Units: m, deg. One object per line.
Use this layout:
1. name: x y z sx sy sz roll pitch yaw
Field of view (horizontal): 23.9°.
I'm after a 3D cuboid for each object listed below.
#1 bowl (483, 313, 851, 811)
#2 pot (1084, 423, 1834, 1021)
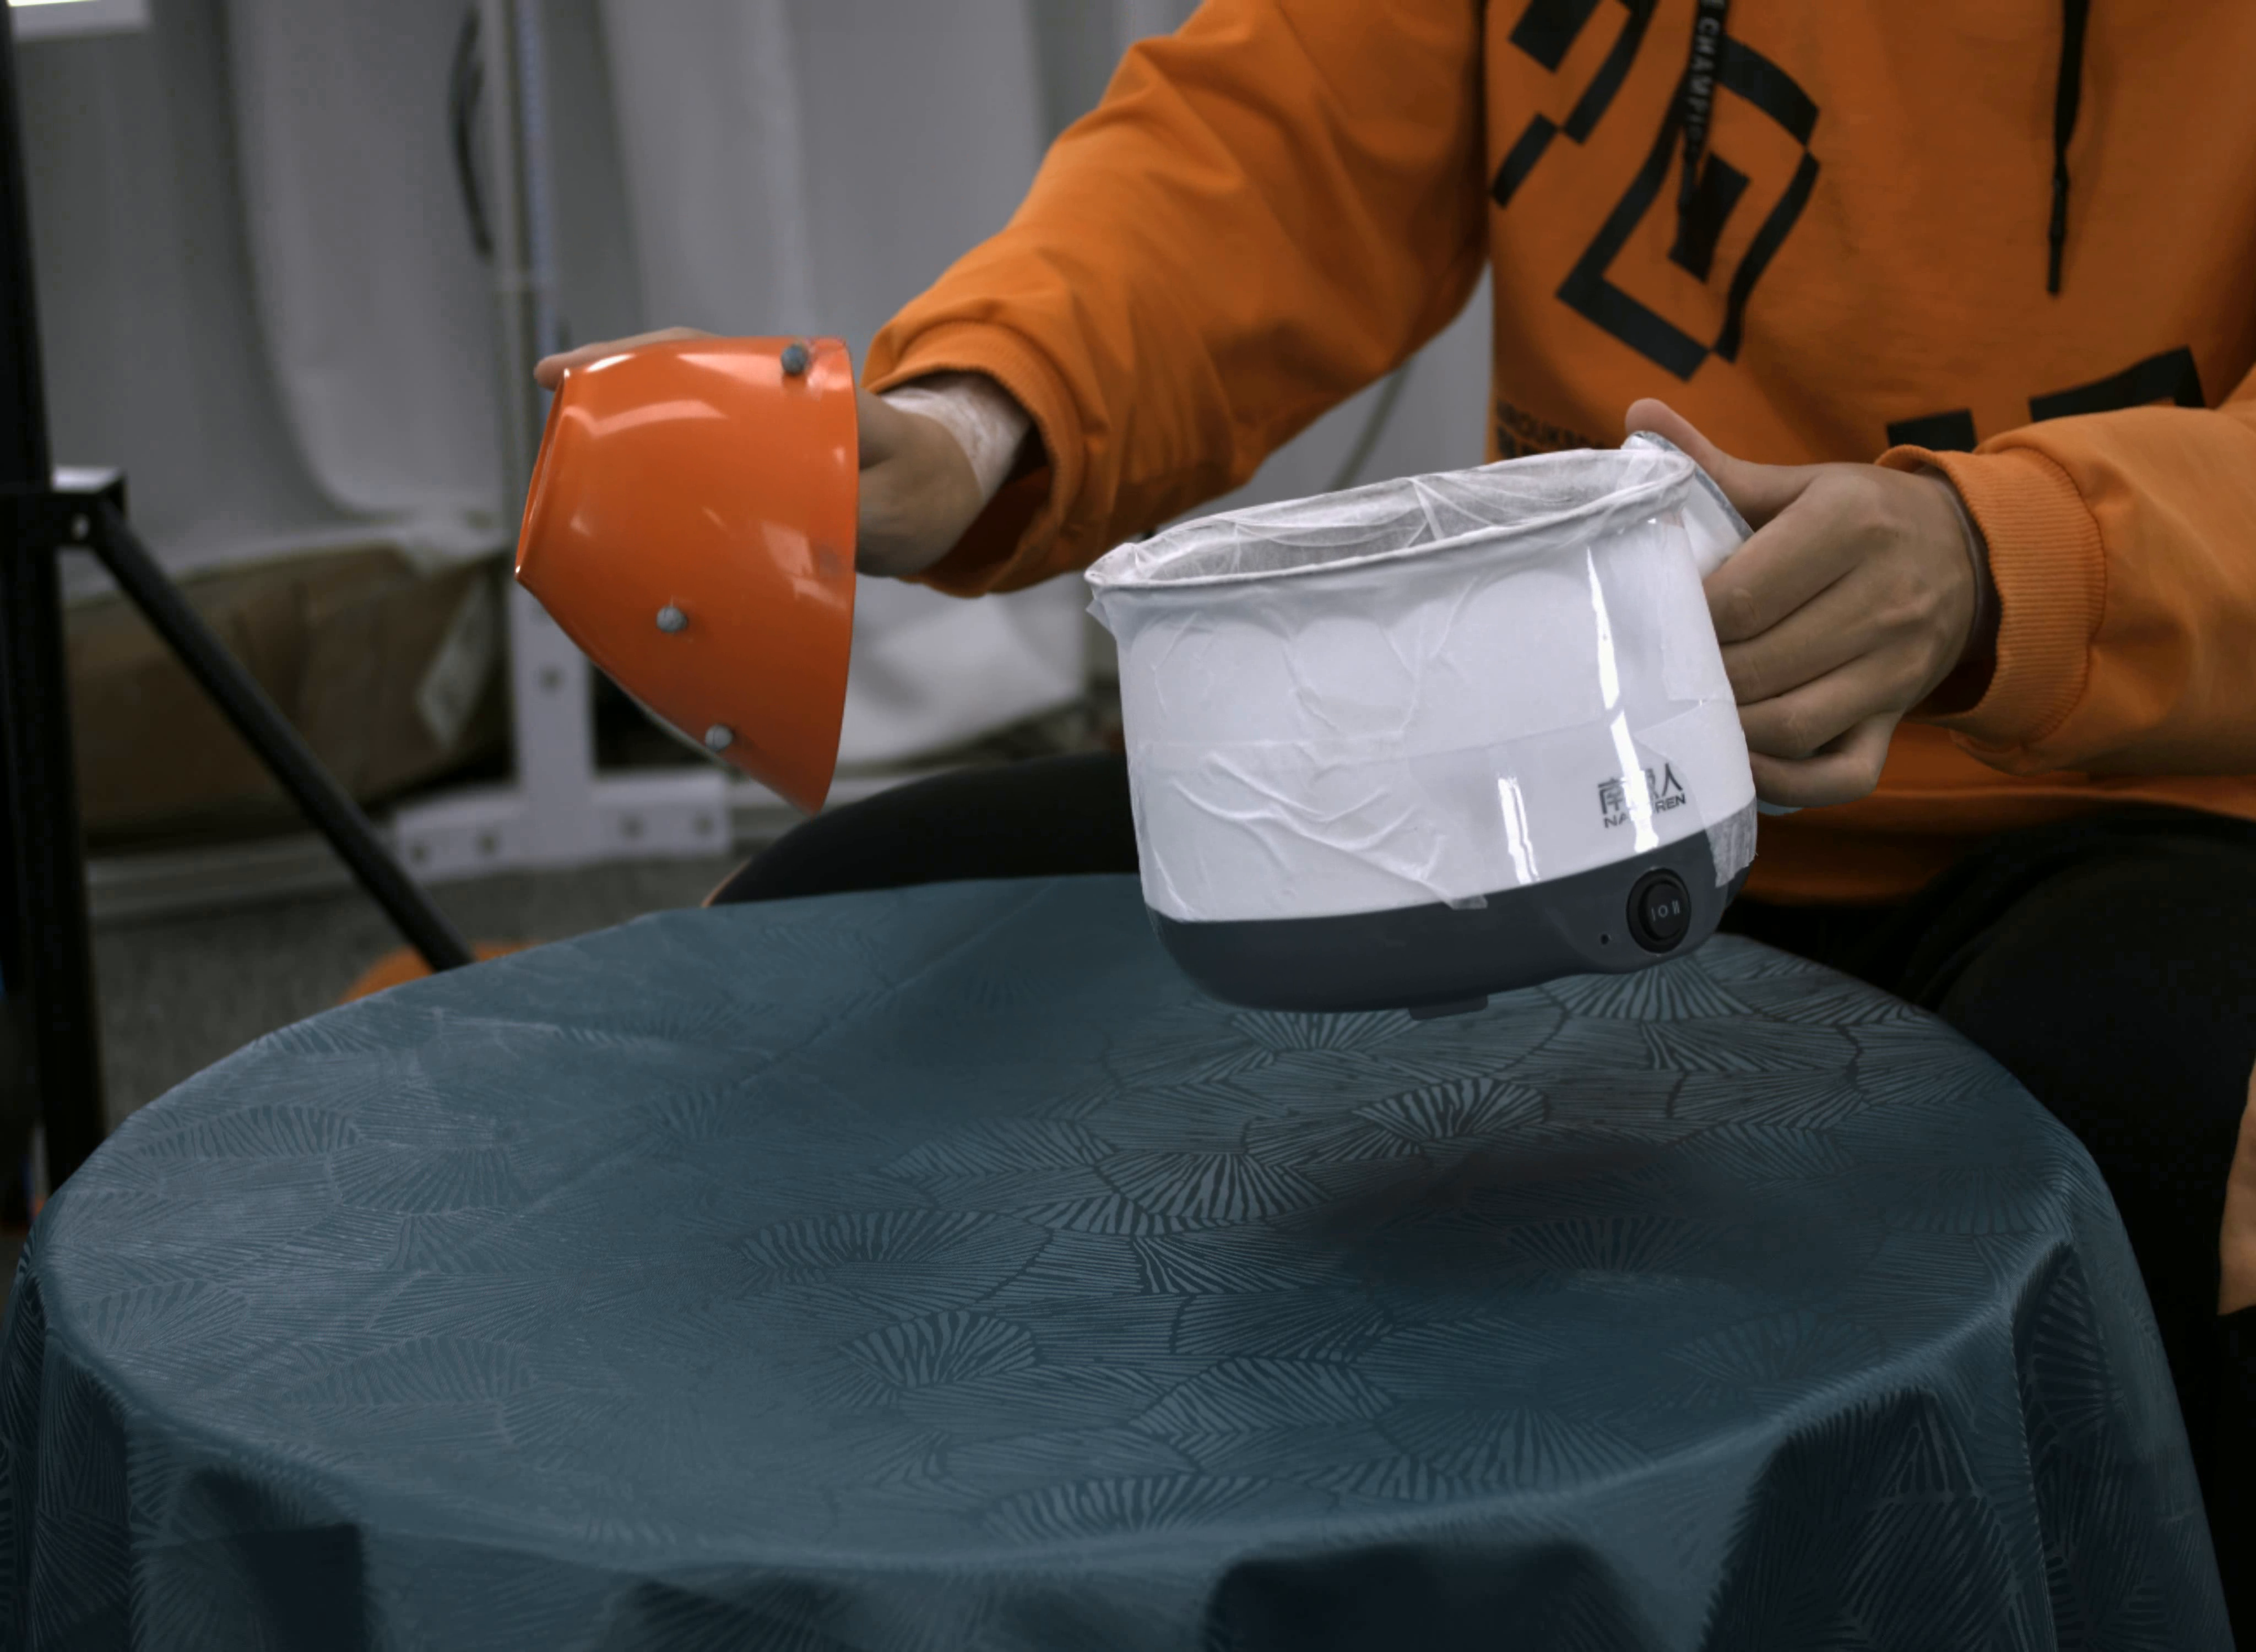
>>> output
1. bowl: -0.142 -0.092 1.639 0.103 0.148 0.149 20 12 -12
2. pot: 0.107 -0.033 1.528 0.228 0.137 0.182 -17 11 -36
